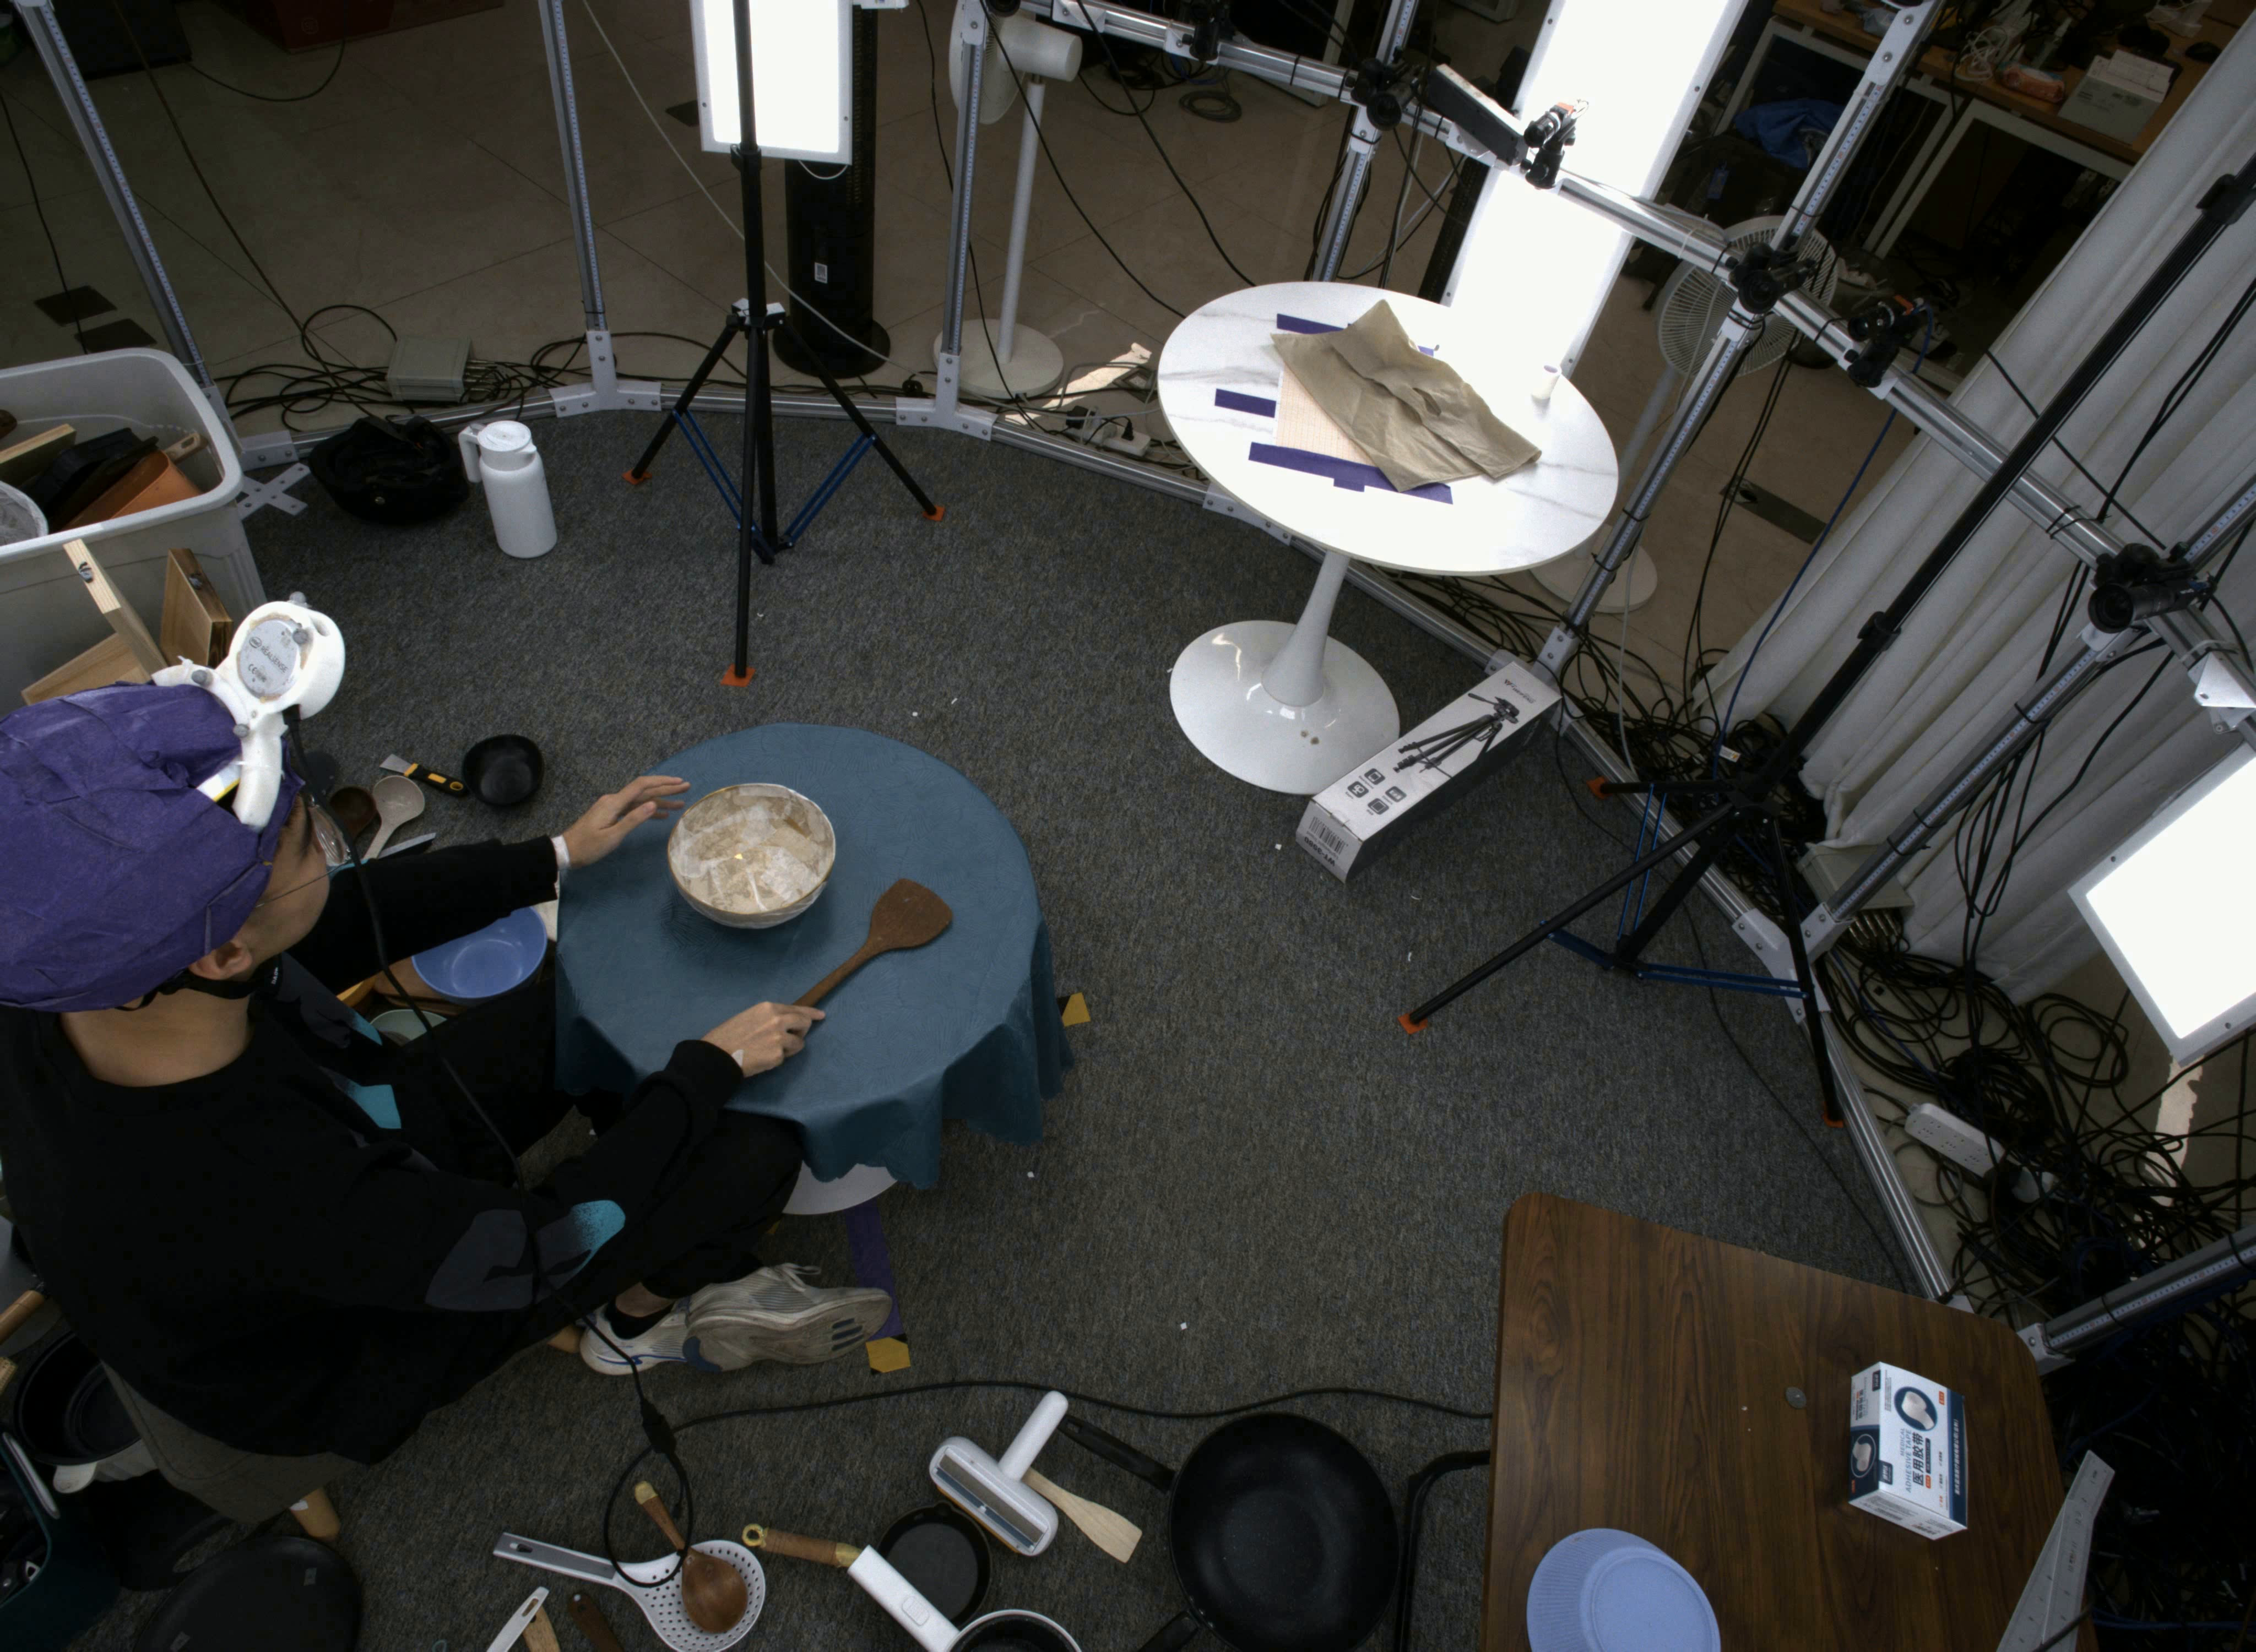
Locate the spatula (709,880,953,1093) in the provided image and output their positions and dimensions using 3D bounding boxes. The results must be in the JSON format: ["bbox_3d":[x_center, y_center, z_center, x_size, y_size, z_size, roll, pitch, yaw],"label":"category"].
[{"bbox_3d":[-0.364,0.192,1.584,0.094,0.016,0.386,36,50,13],"label":"spatula"}]

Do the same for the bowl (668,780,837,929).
[{"bbox_3d":[-0.470,0.050,1.620,0.214,0.096,0.211,8,54,-9],"label":"bowl"}]
